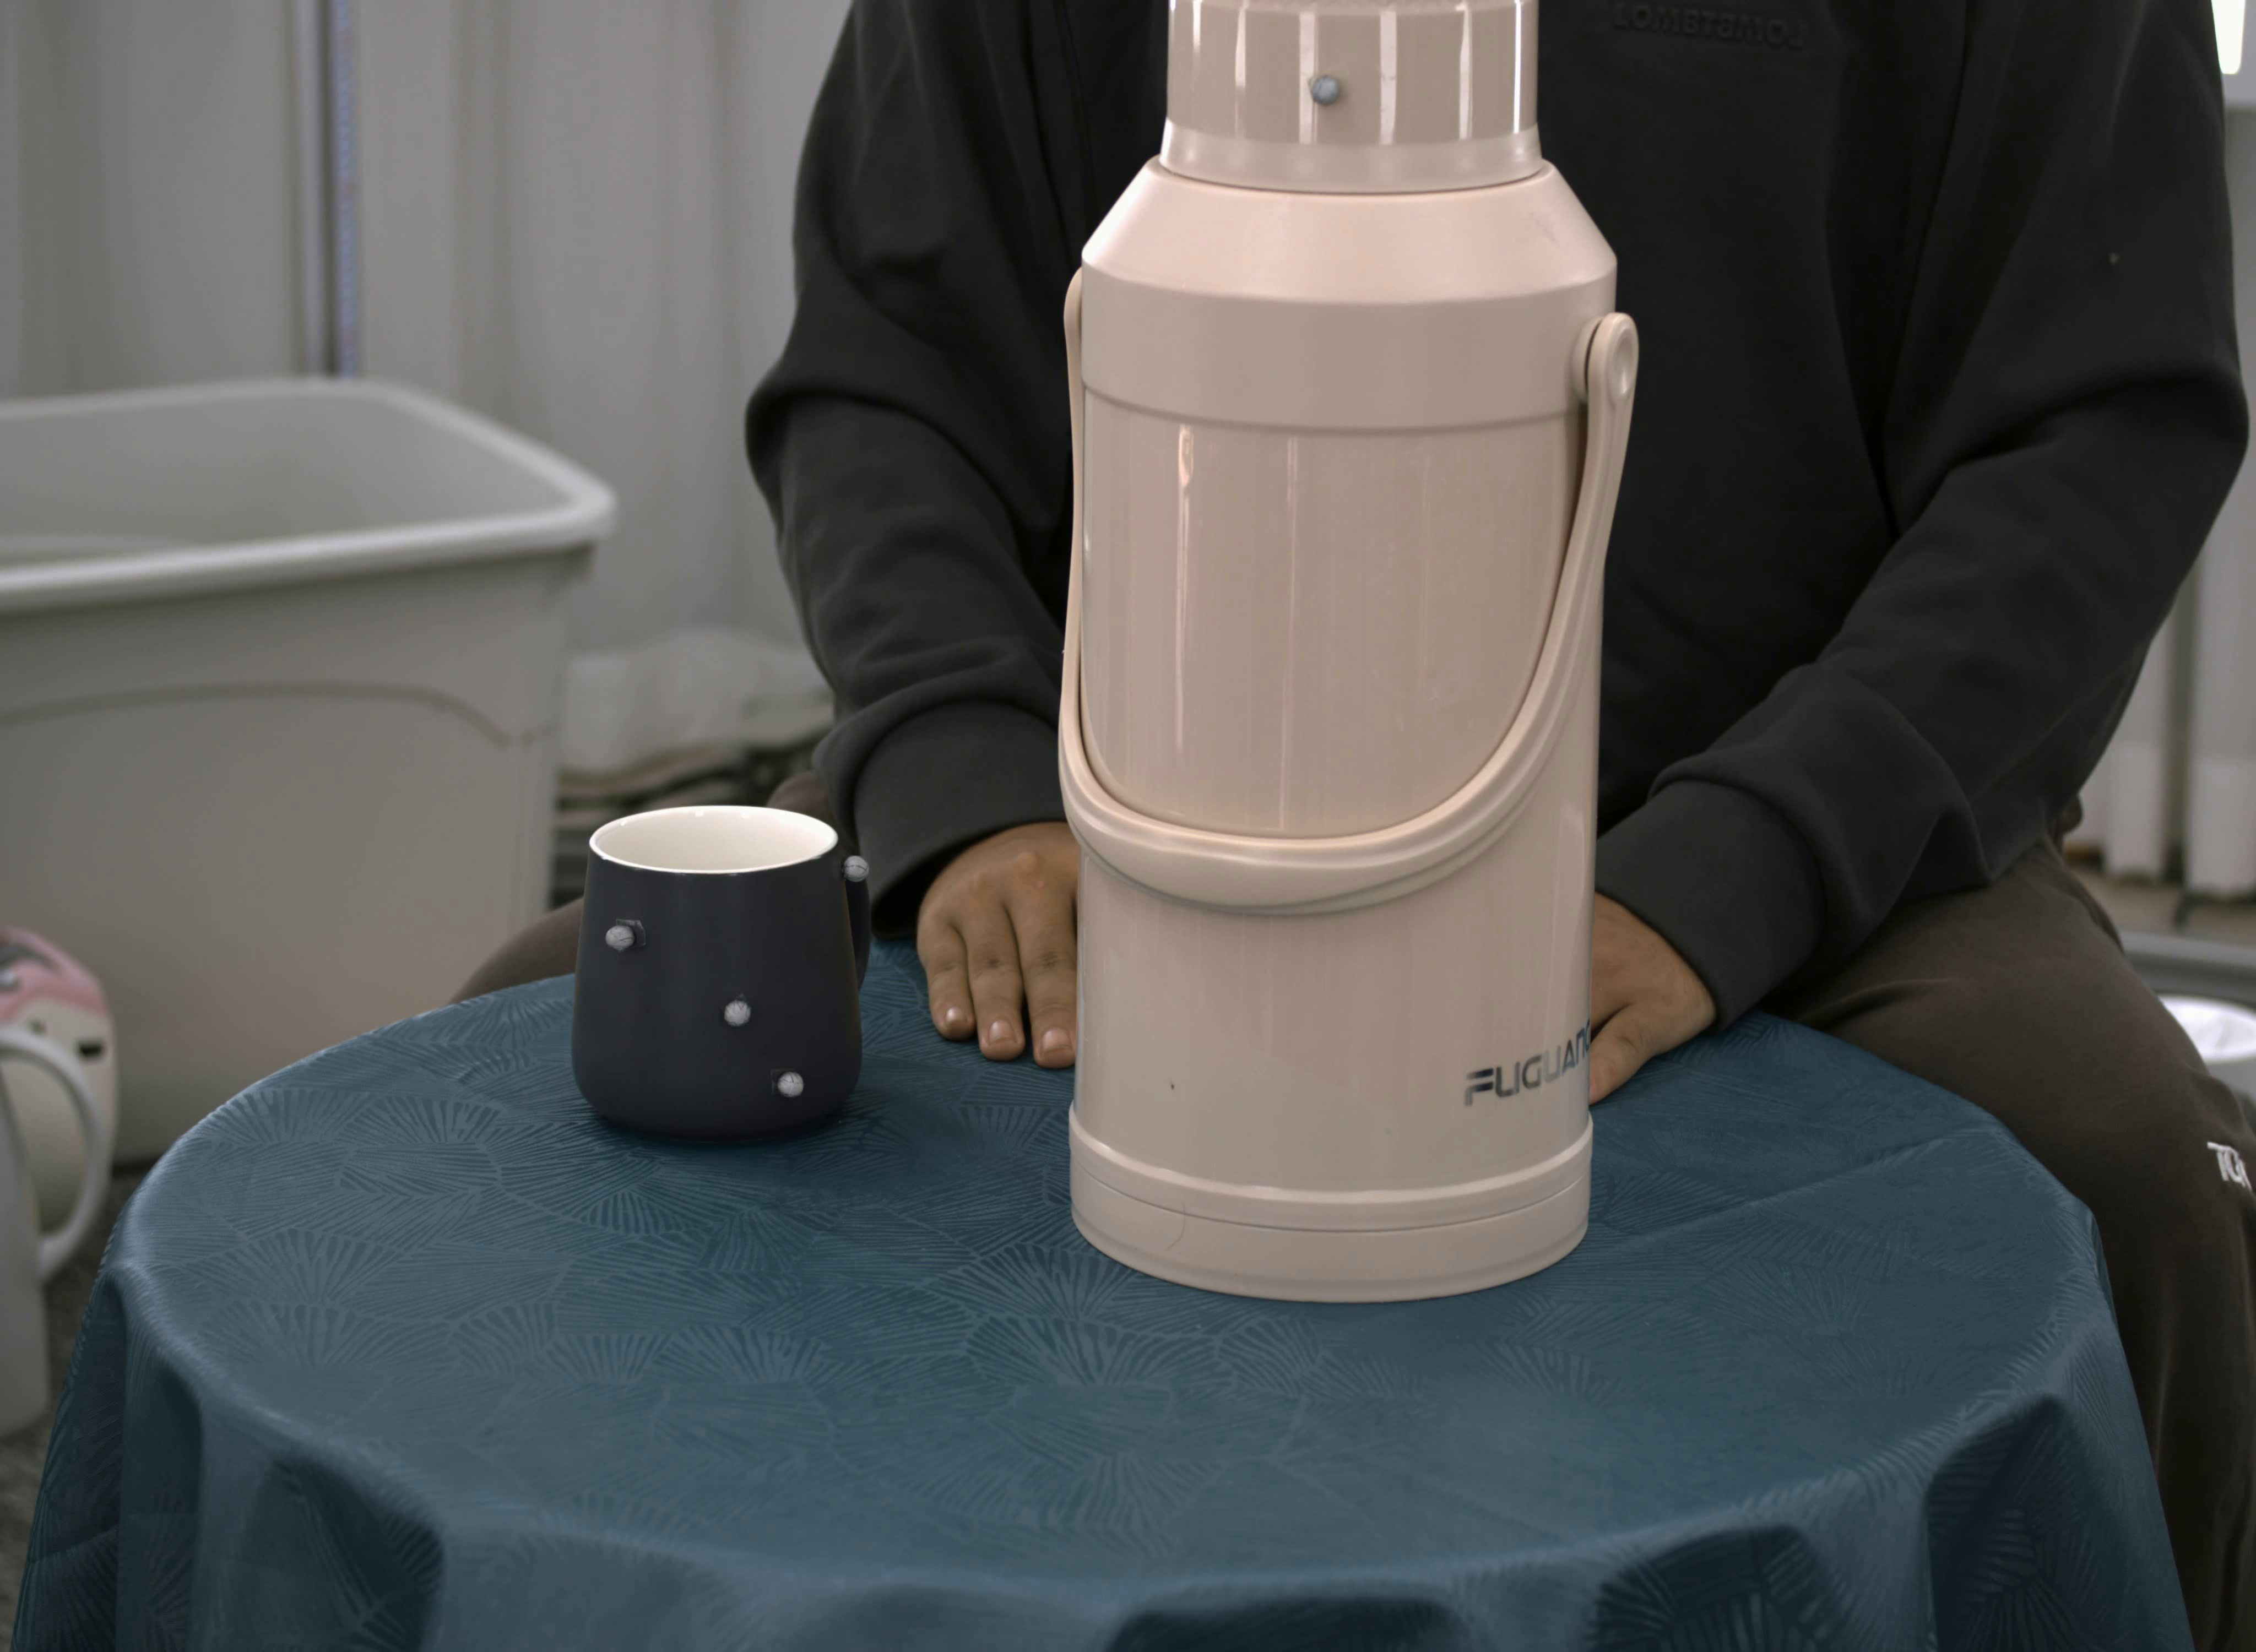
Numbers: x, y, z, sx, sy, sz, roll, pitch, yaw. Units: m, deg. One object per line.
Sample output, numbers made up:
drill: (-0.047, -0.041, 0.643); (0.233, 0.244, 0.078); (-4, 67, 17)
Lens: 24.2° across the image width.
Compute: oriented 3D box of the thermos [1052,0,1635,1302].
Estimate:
thermos: (0.069, -0.077, 1.566); (0.173, 0.410, 0.207); (8, 18, 25)

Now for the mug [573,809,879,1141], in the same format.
mug: (-0.122, 0.044, 1.697); (0.092, 0.090, 0.124); (12, 19, 34)
